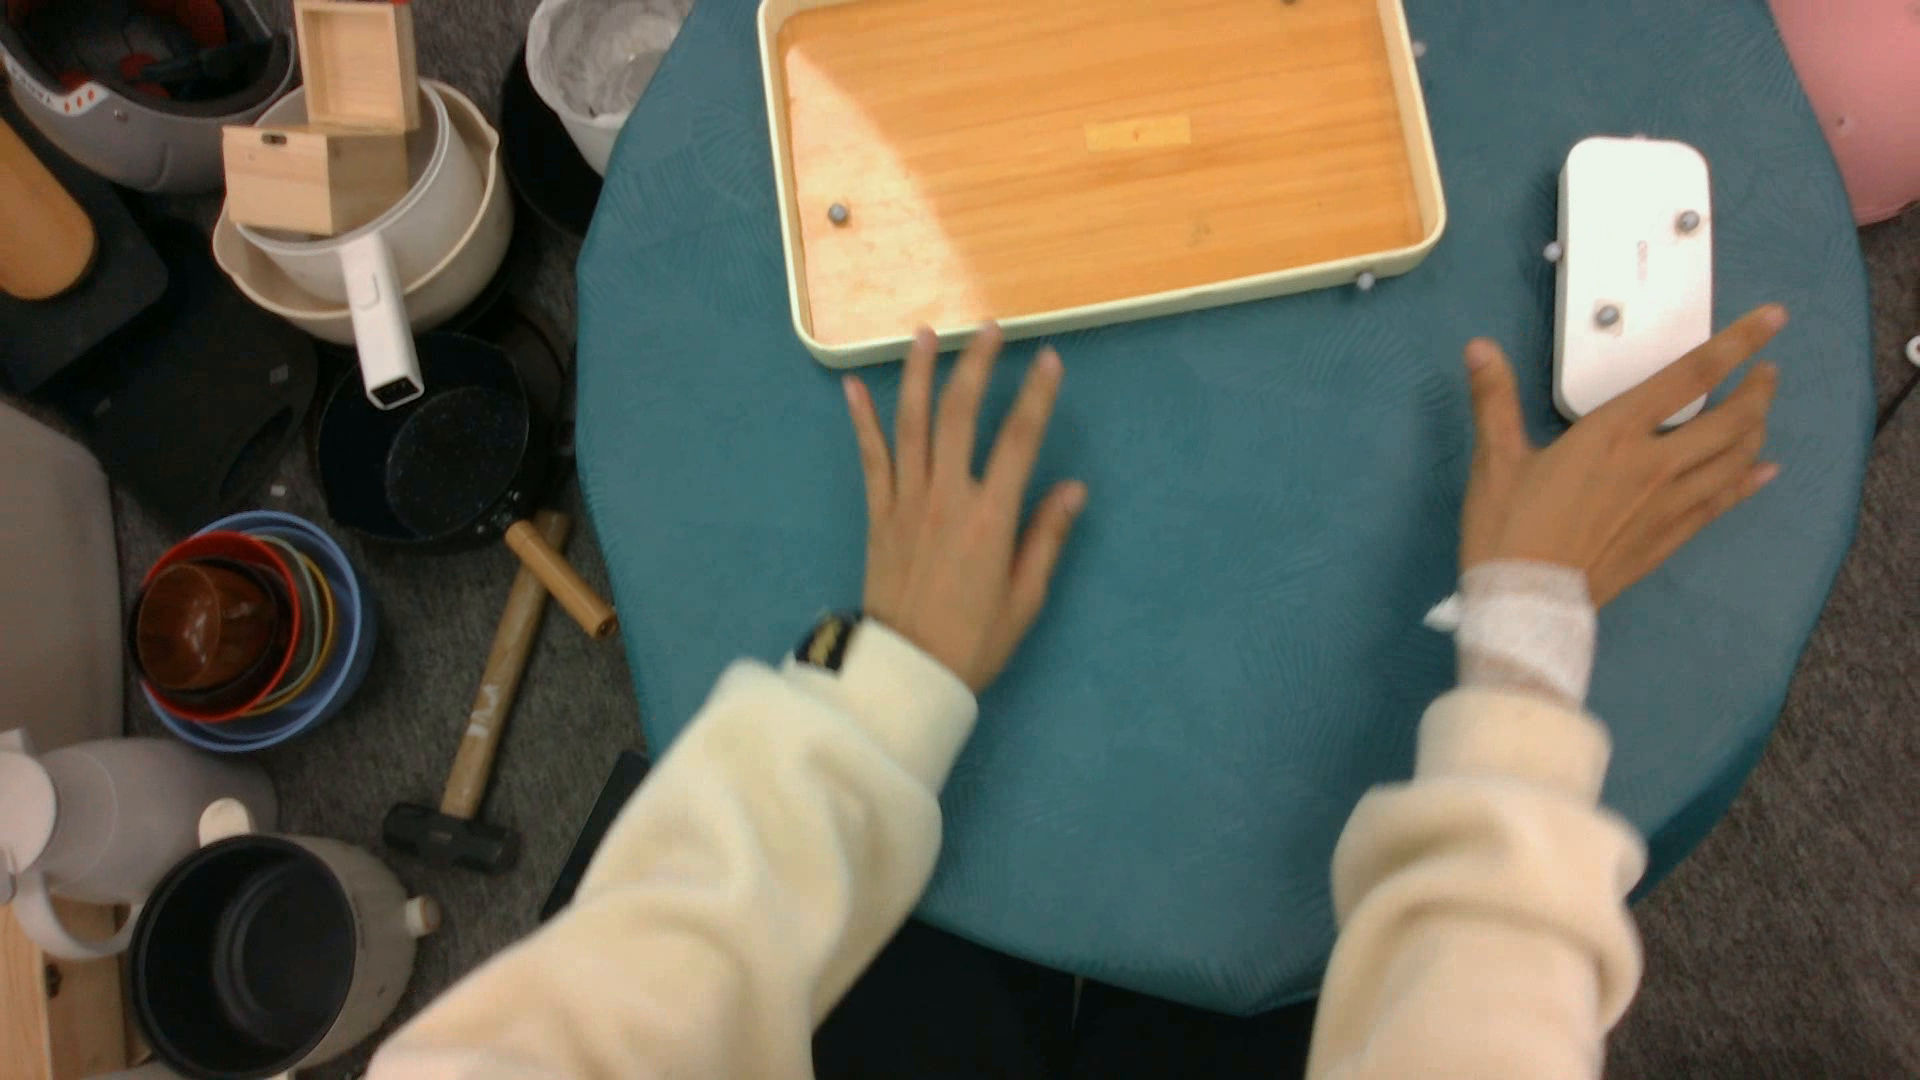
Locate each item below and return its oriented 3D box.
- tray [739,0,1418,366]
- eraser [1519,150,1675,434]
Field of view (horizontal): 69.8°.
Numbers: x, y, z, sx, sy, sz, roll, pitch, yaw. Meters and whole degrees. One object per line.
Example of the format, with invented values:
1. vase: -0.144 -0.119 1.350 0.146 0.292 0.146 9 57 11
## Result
1. tray: 0.051 -0.196 0.661 0.300 0.027 0.192 -9 77 2
2. eraser: 0.286 -0.113 0.624 0.063 0.034 0.131 6 77 5
